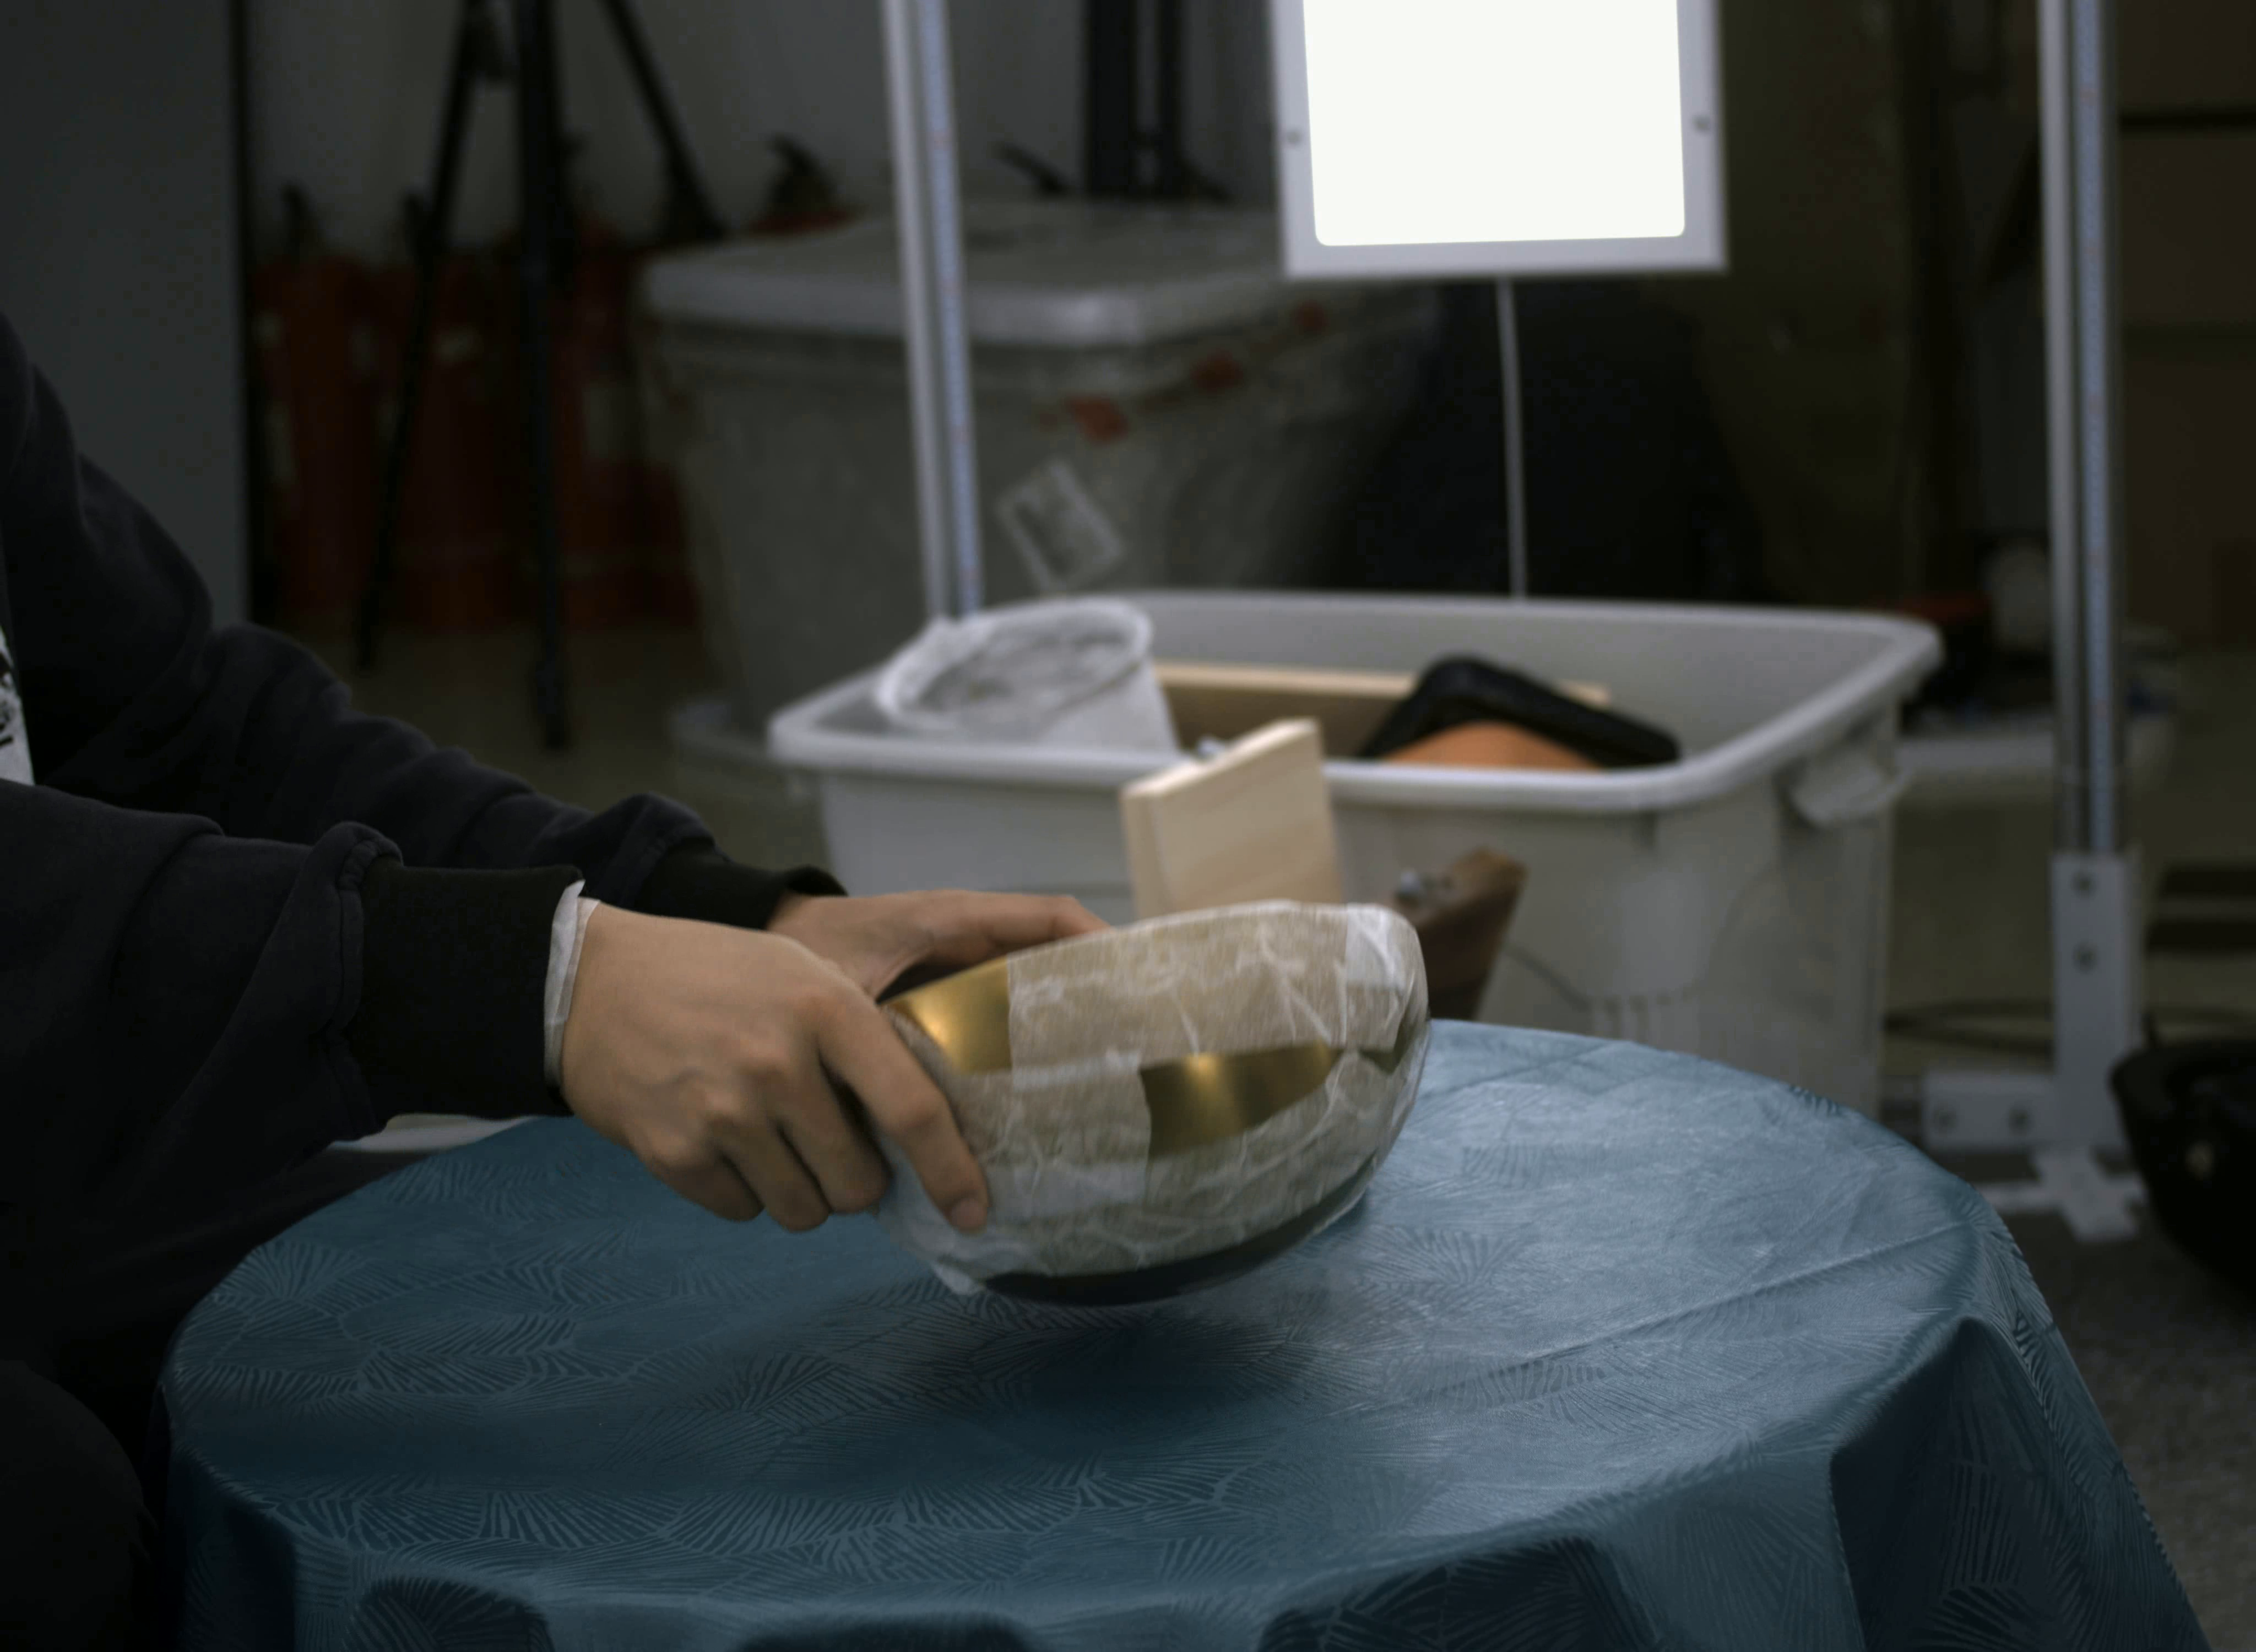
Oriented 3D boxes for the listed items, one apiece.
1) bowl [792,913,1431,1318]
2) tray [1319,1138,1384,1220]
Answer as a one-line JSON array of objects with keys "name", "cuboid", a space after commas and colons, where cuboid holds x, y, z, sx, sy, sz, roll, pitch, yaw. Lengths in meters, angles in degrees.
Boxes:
[{"name": "bowl", "cuboid": [0.004, 0.102, 1.732, 0.213, 0.095, 0.215, -12, -13, -4]}, {"name": "tray", "cuboid": [0.002, 0.103, 1.944, 0.099, 0.020, 0.235, -15, 21, -29]}]
